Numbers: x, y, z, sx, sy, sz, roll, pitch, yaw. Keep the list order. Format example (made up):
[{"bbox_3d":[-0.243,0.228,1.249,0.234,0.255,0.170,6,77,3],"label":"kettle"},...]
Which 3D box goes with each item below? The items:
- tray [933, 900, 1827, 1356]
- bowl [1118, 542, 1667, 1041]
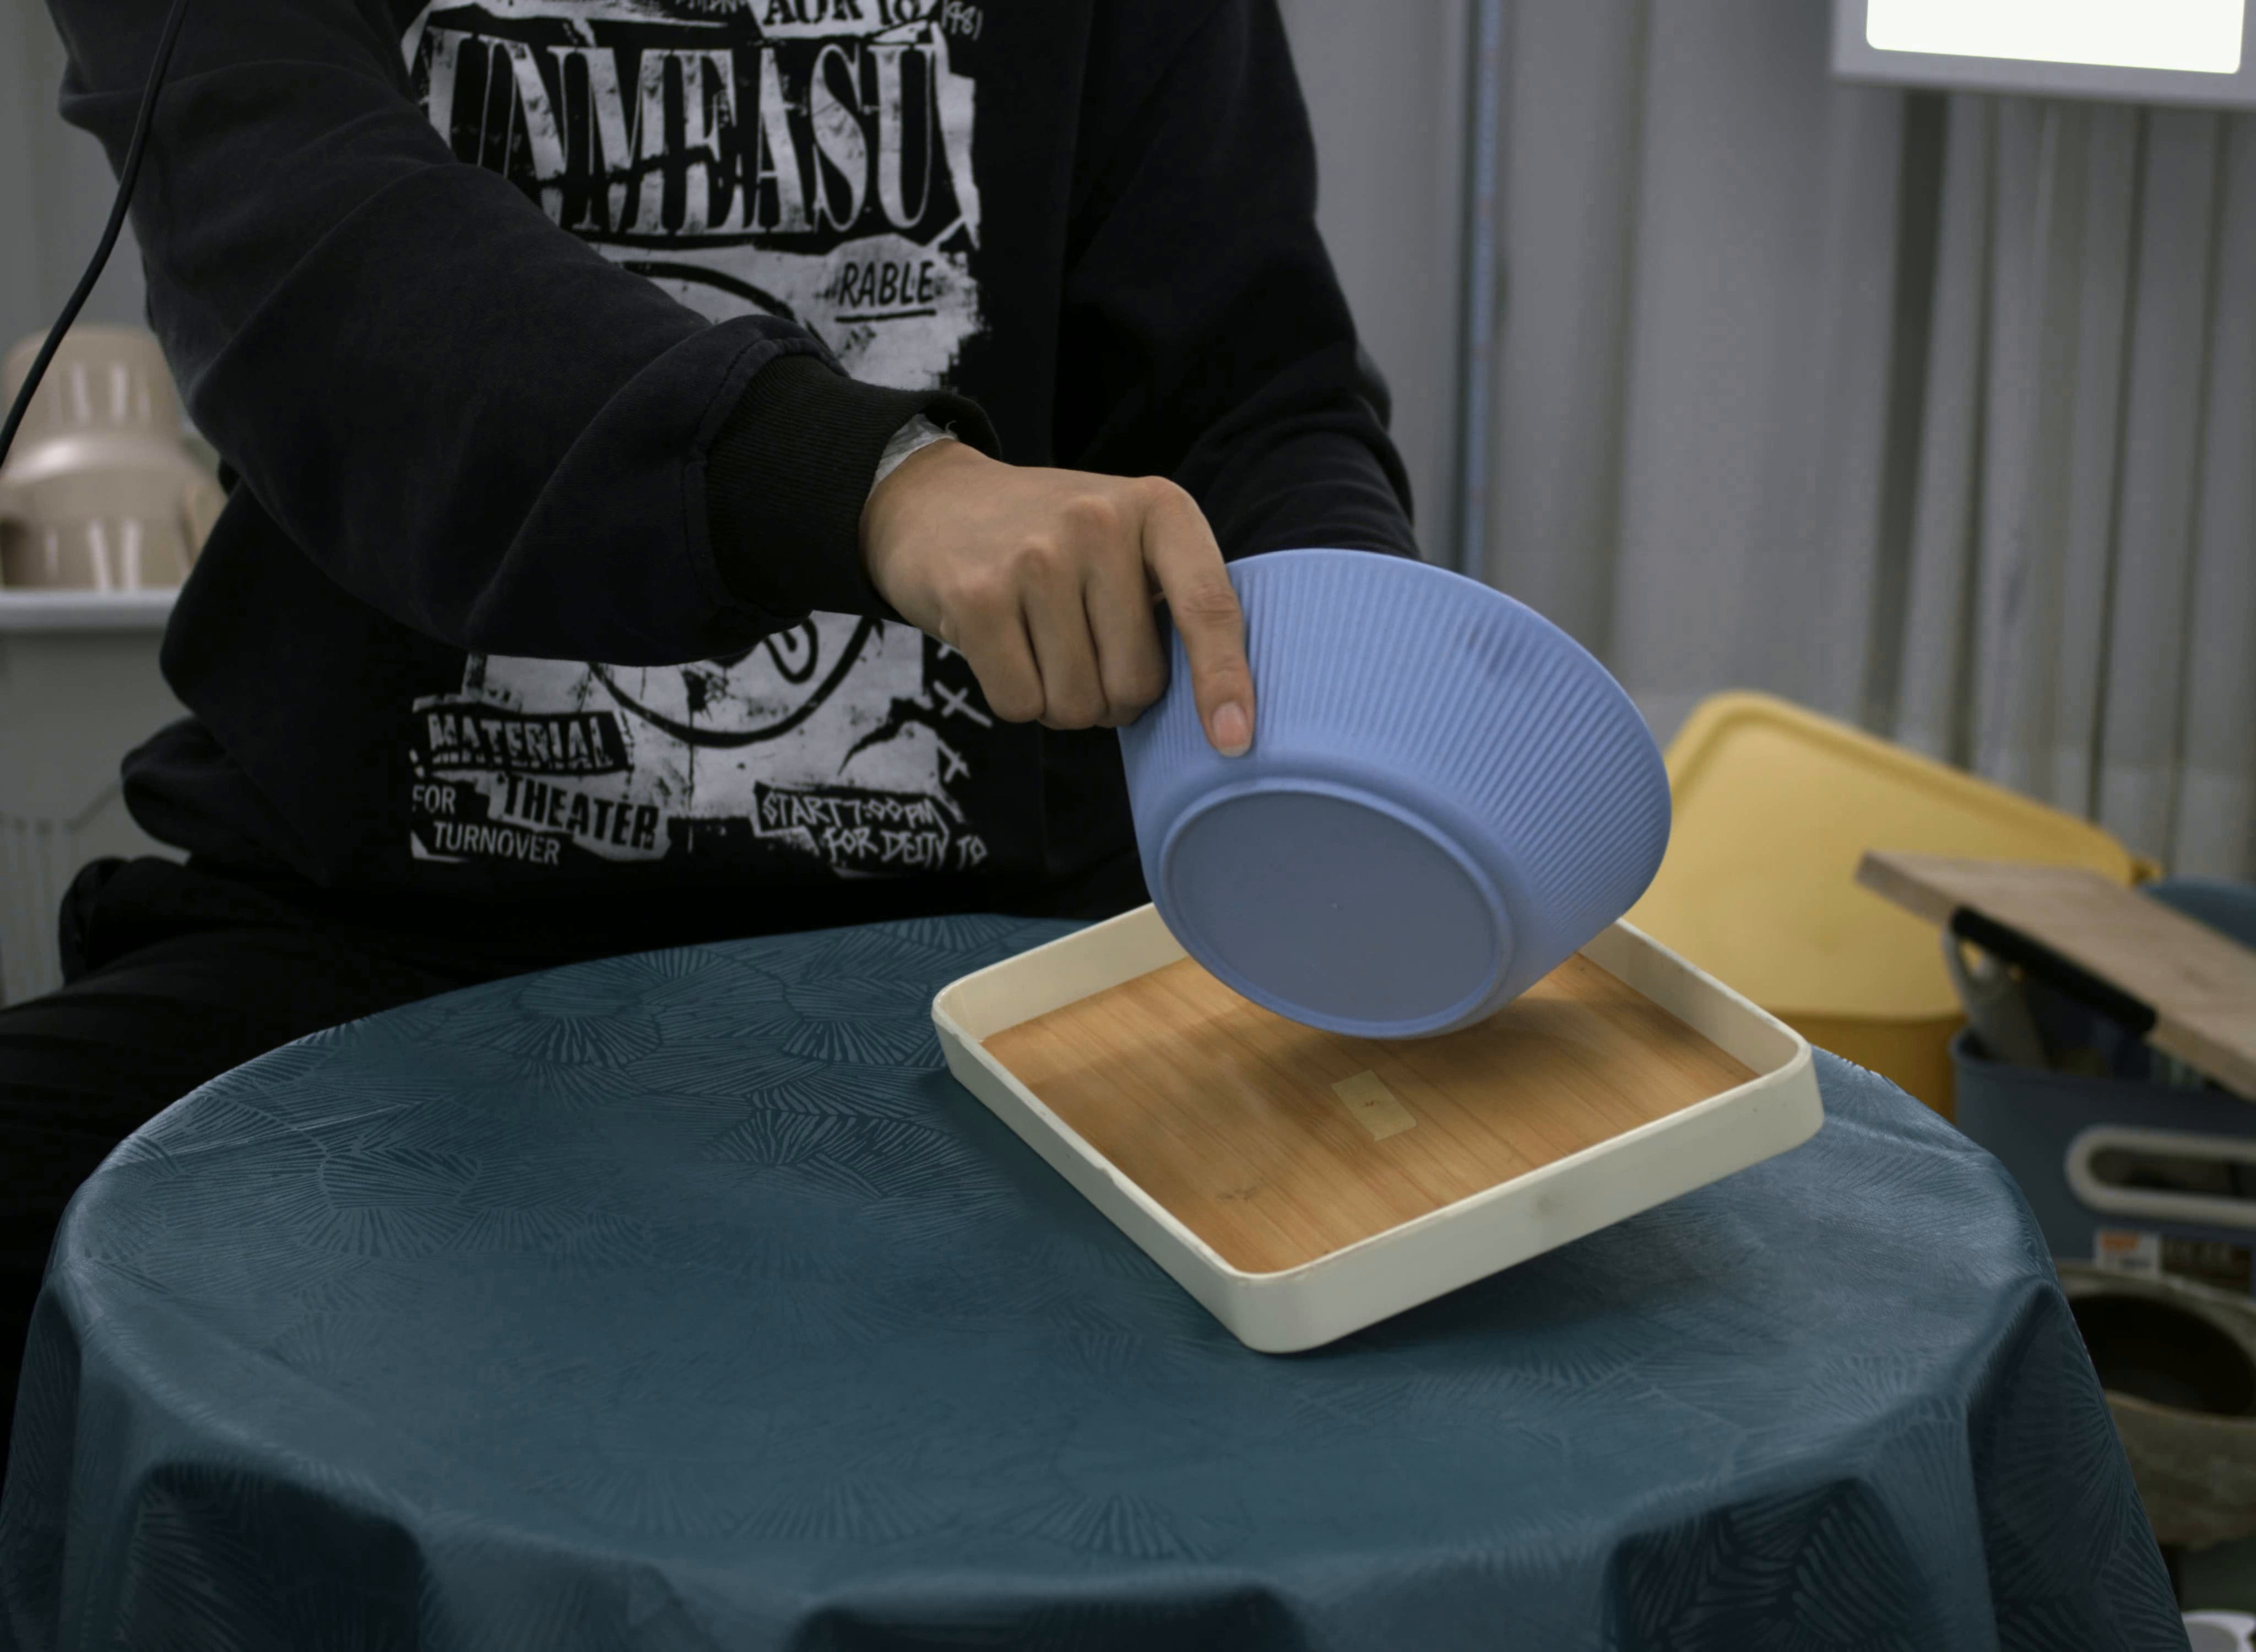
[{"bbox_3d":[0.071,0.072,1.635,0.191,0.028,0.297,-21,22,-15],"label":"tray"},{"bbox_3d":[0.070,0.002,1.590,0.174,0.178,0.070,7,46,19],"label":"bowl"}]
